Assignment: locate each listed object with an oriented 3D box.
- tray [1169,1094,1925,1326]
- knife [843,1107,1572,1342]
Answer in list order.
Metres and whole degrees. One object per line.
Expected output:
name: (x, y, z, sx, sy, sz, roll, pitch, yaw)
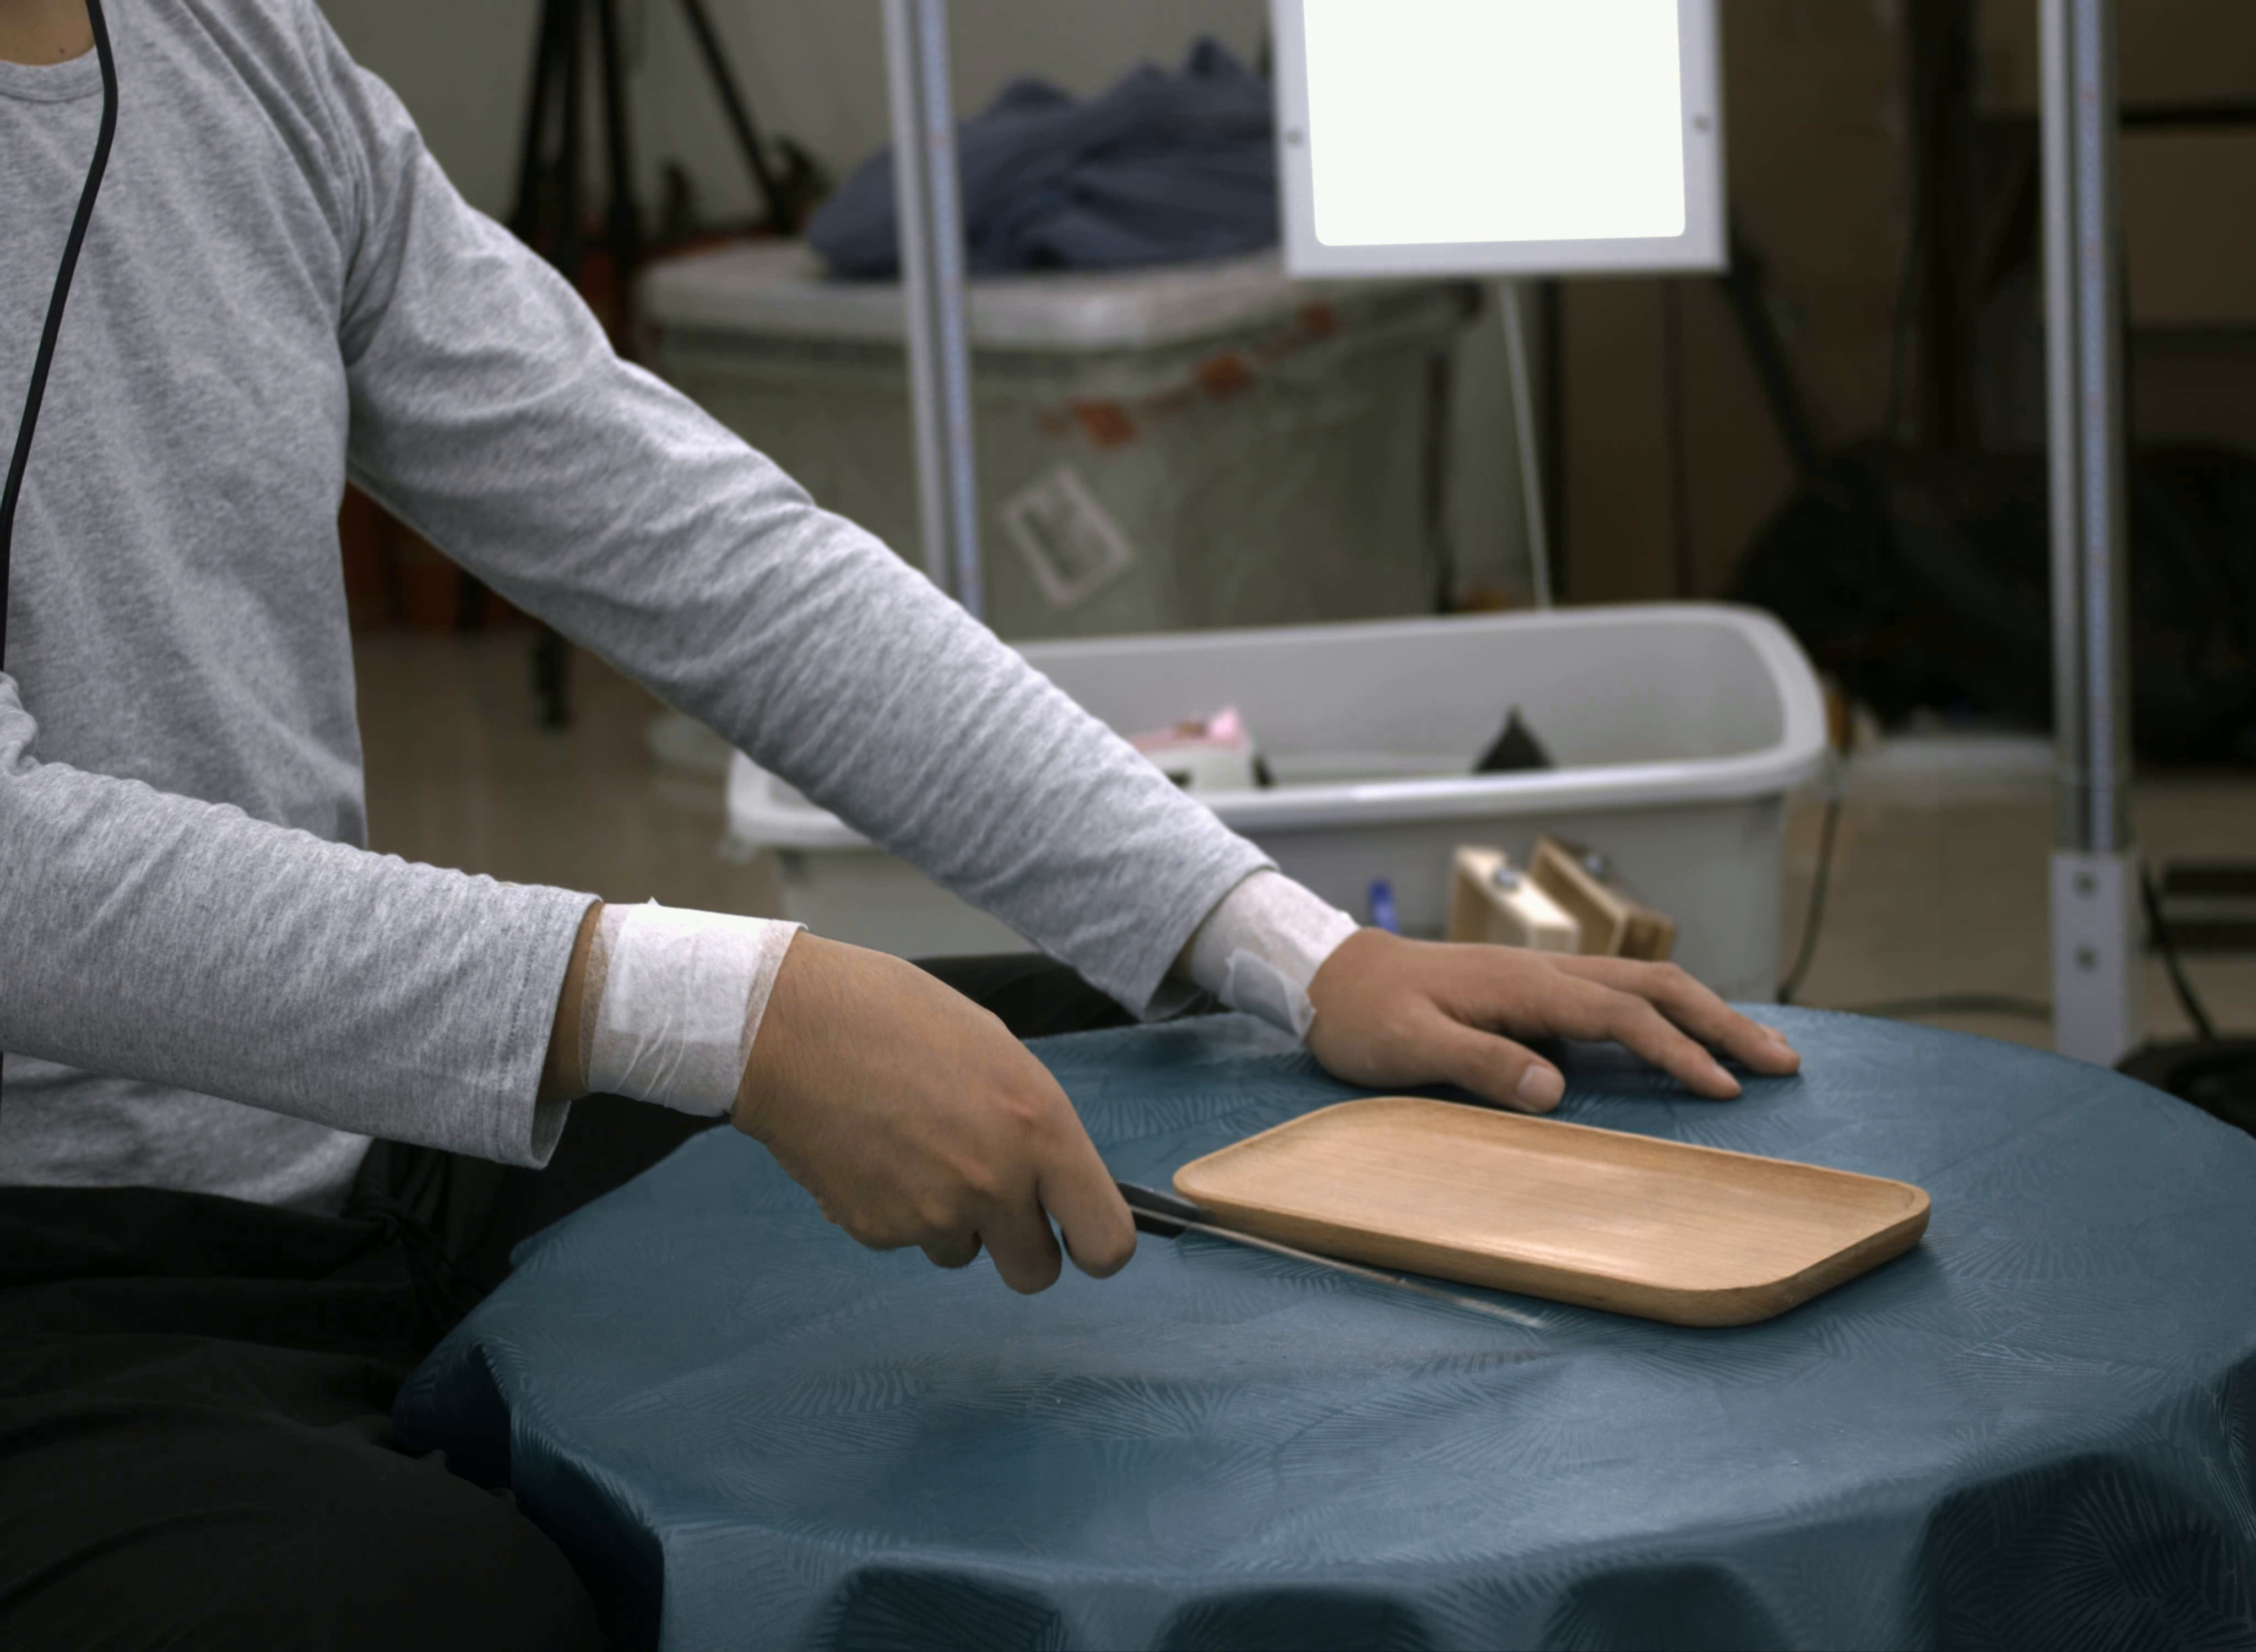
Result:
tray: (0.137, 0.125, 1.822, 0.256, 0.023, 0.127, 7, 15, 44)
knife: (0.025, 0.127, 1.715, 0.238, 0.016, 0.024, 16, 6, 4)
